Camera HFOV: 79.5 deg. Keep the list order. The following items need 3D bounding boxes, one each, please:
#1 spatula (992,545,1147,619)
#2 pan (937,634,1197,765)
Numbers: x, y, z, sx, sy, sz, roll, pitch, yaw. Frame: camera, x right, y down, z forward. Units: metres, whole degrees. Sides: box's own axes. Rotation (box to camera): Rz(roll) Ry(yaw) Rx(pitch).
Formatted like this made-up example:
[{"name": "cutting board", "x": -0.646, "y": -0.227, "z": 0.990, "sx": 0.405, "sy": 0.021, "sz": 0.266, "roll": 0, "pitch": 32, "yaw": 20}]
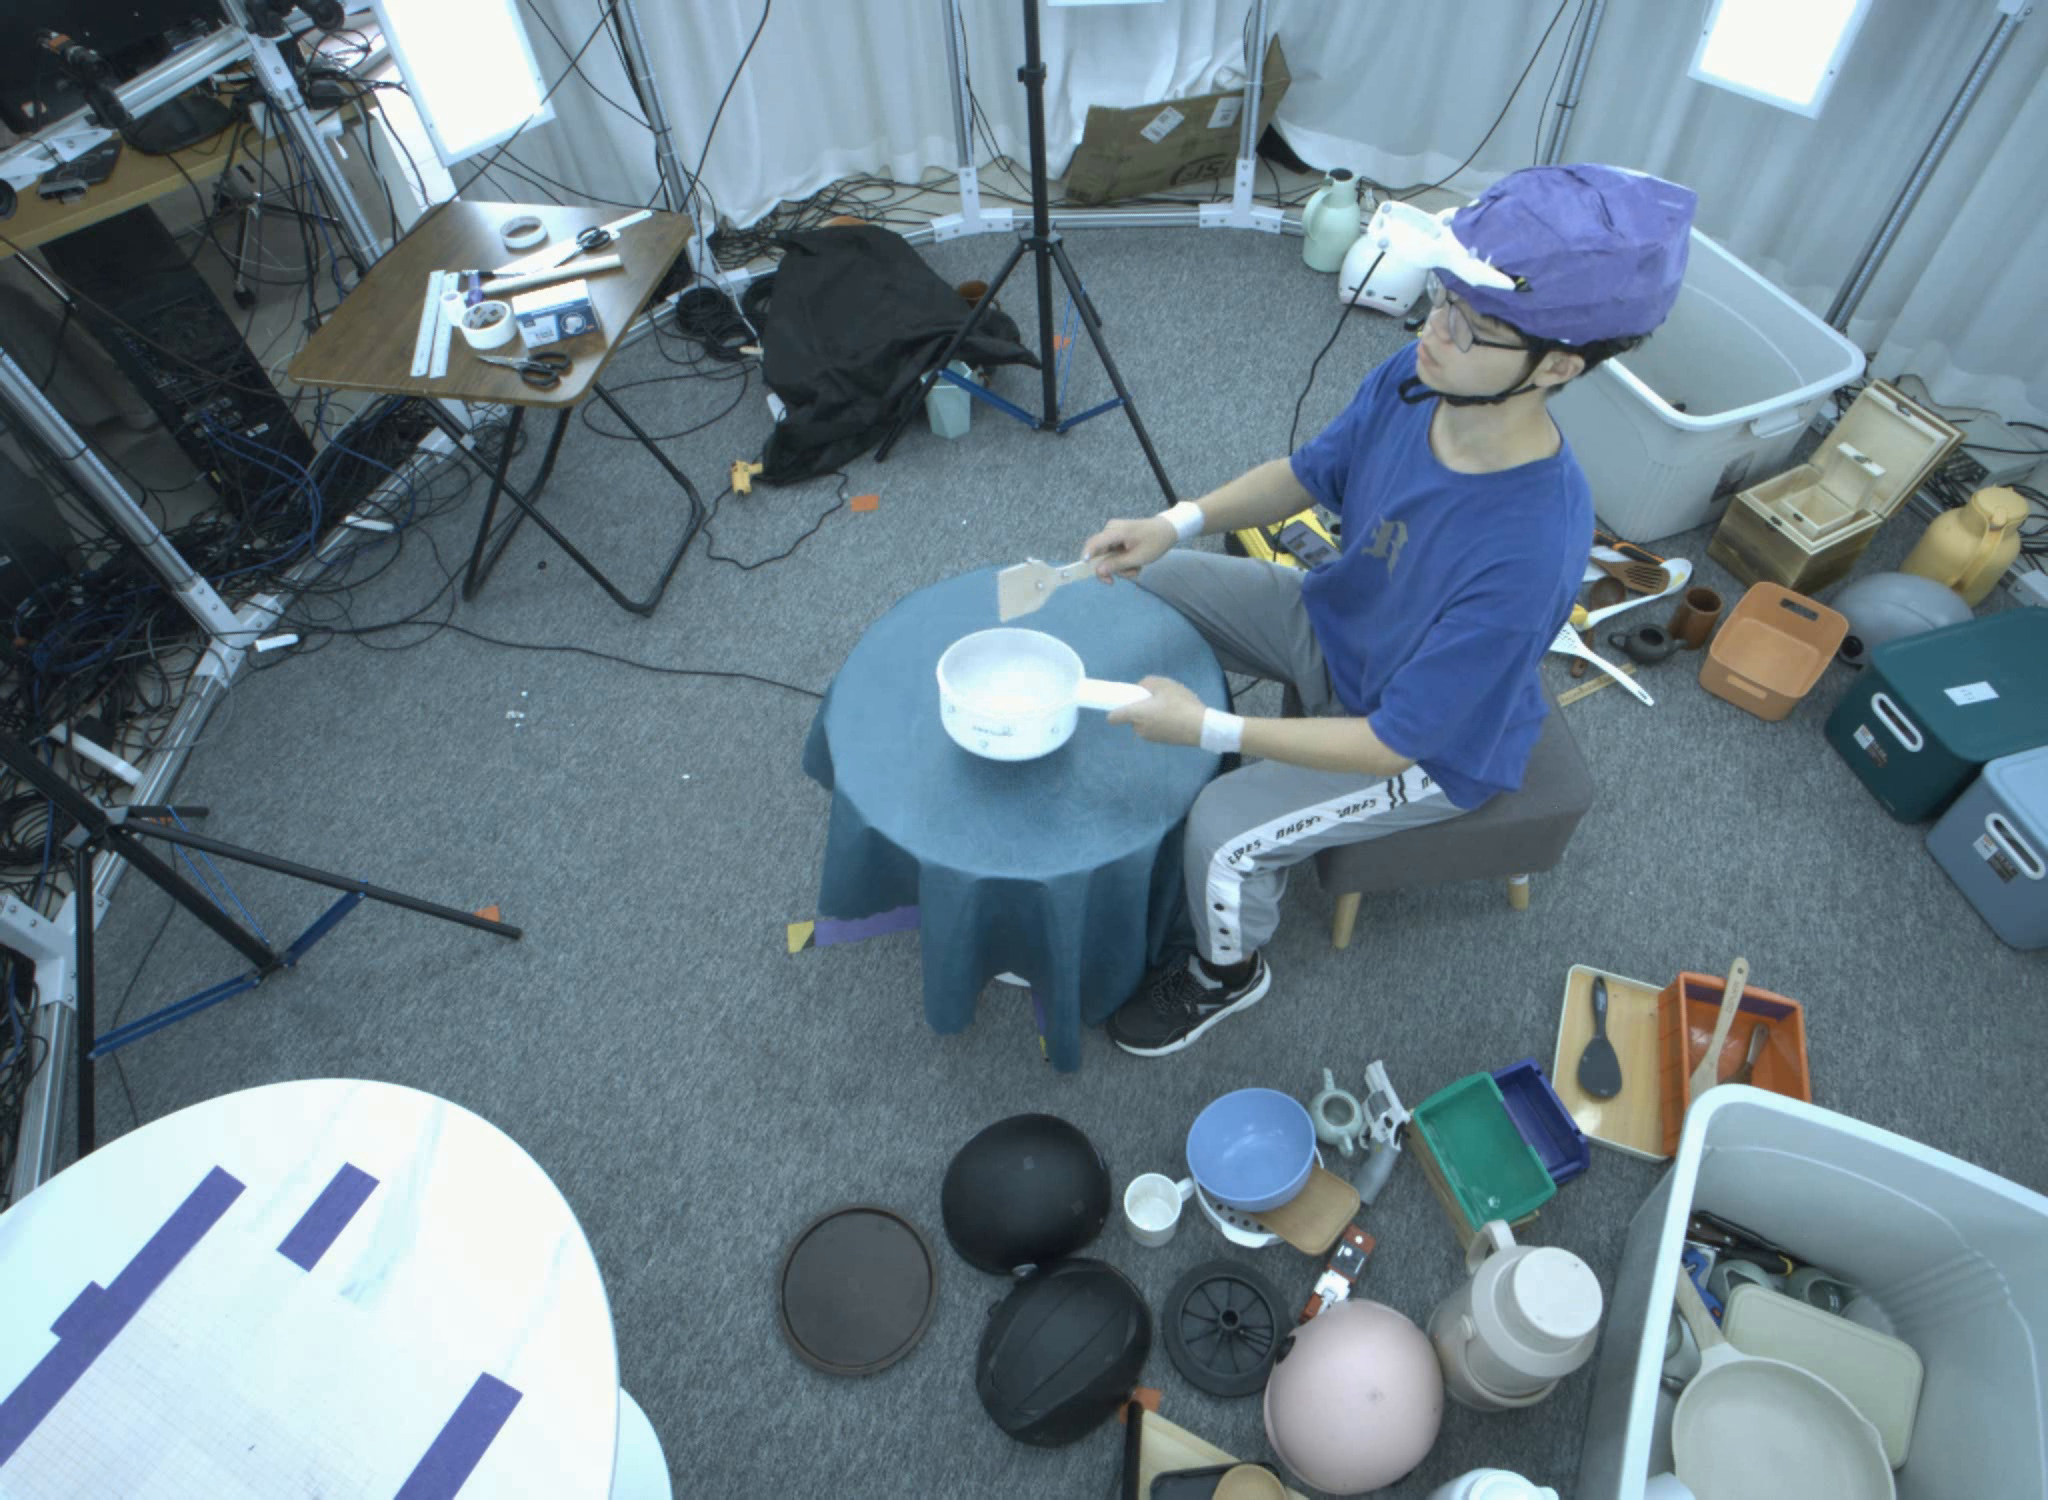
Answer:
[{"name": "spatula", "x": 0.068, "y": -0.249, "z": 1.717, "sx": 0.297, "sy": 0.073, "sz": 0.010, "roll": -21, "pitch": 29, "yaw": -37}, {"name": "pan", "x": 0.056, "y": -0.054, "z": 1.691, "sx": 0.353, "sy": 0.103, "sz": 0.200, "roll": 9, "pitch": 38, "yaw": 7}]
